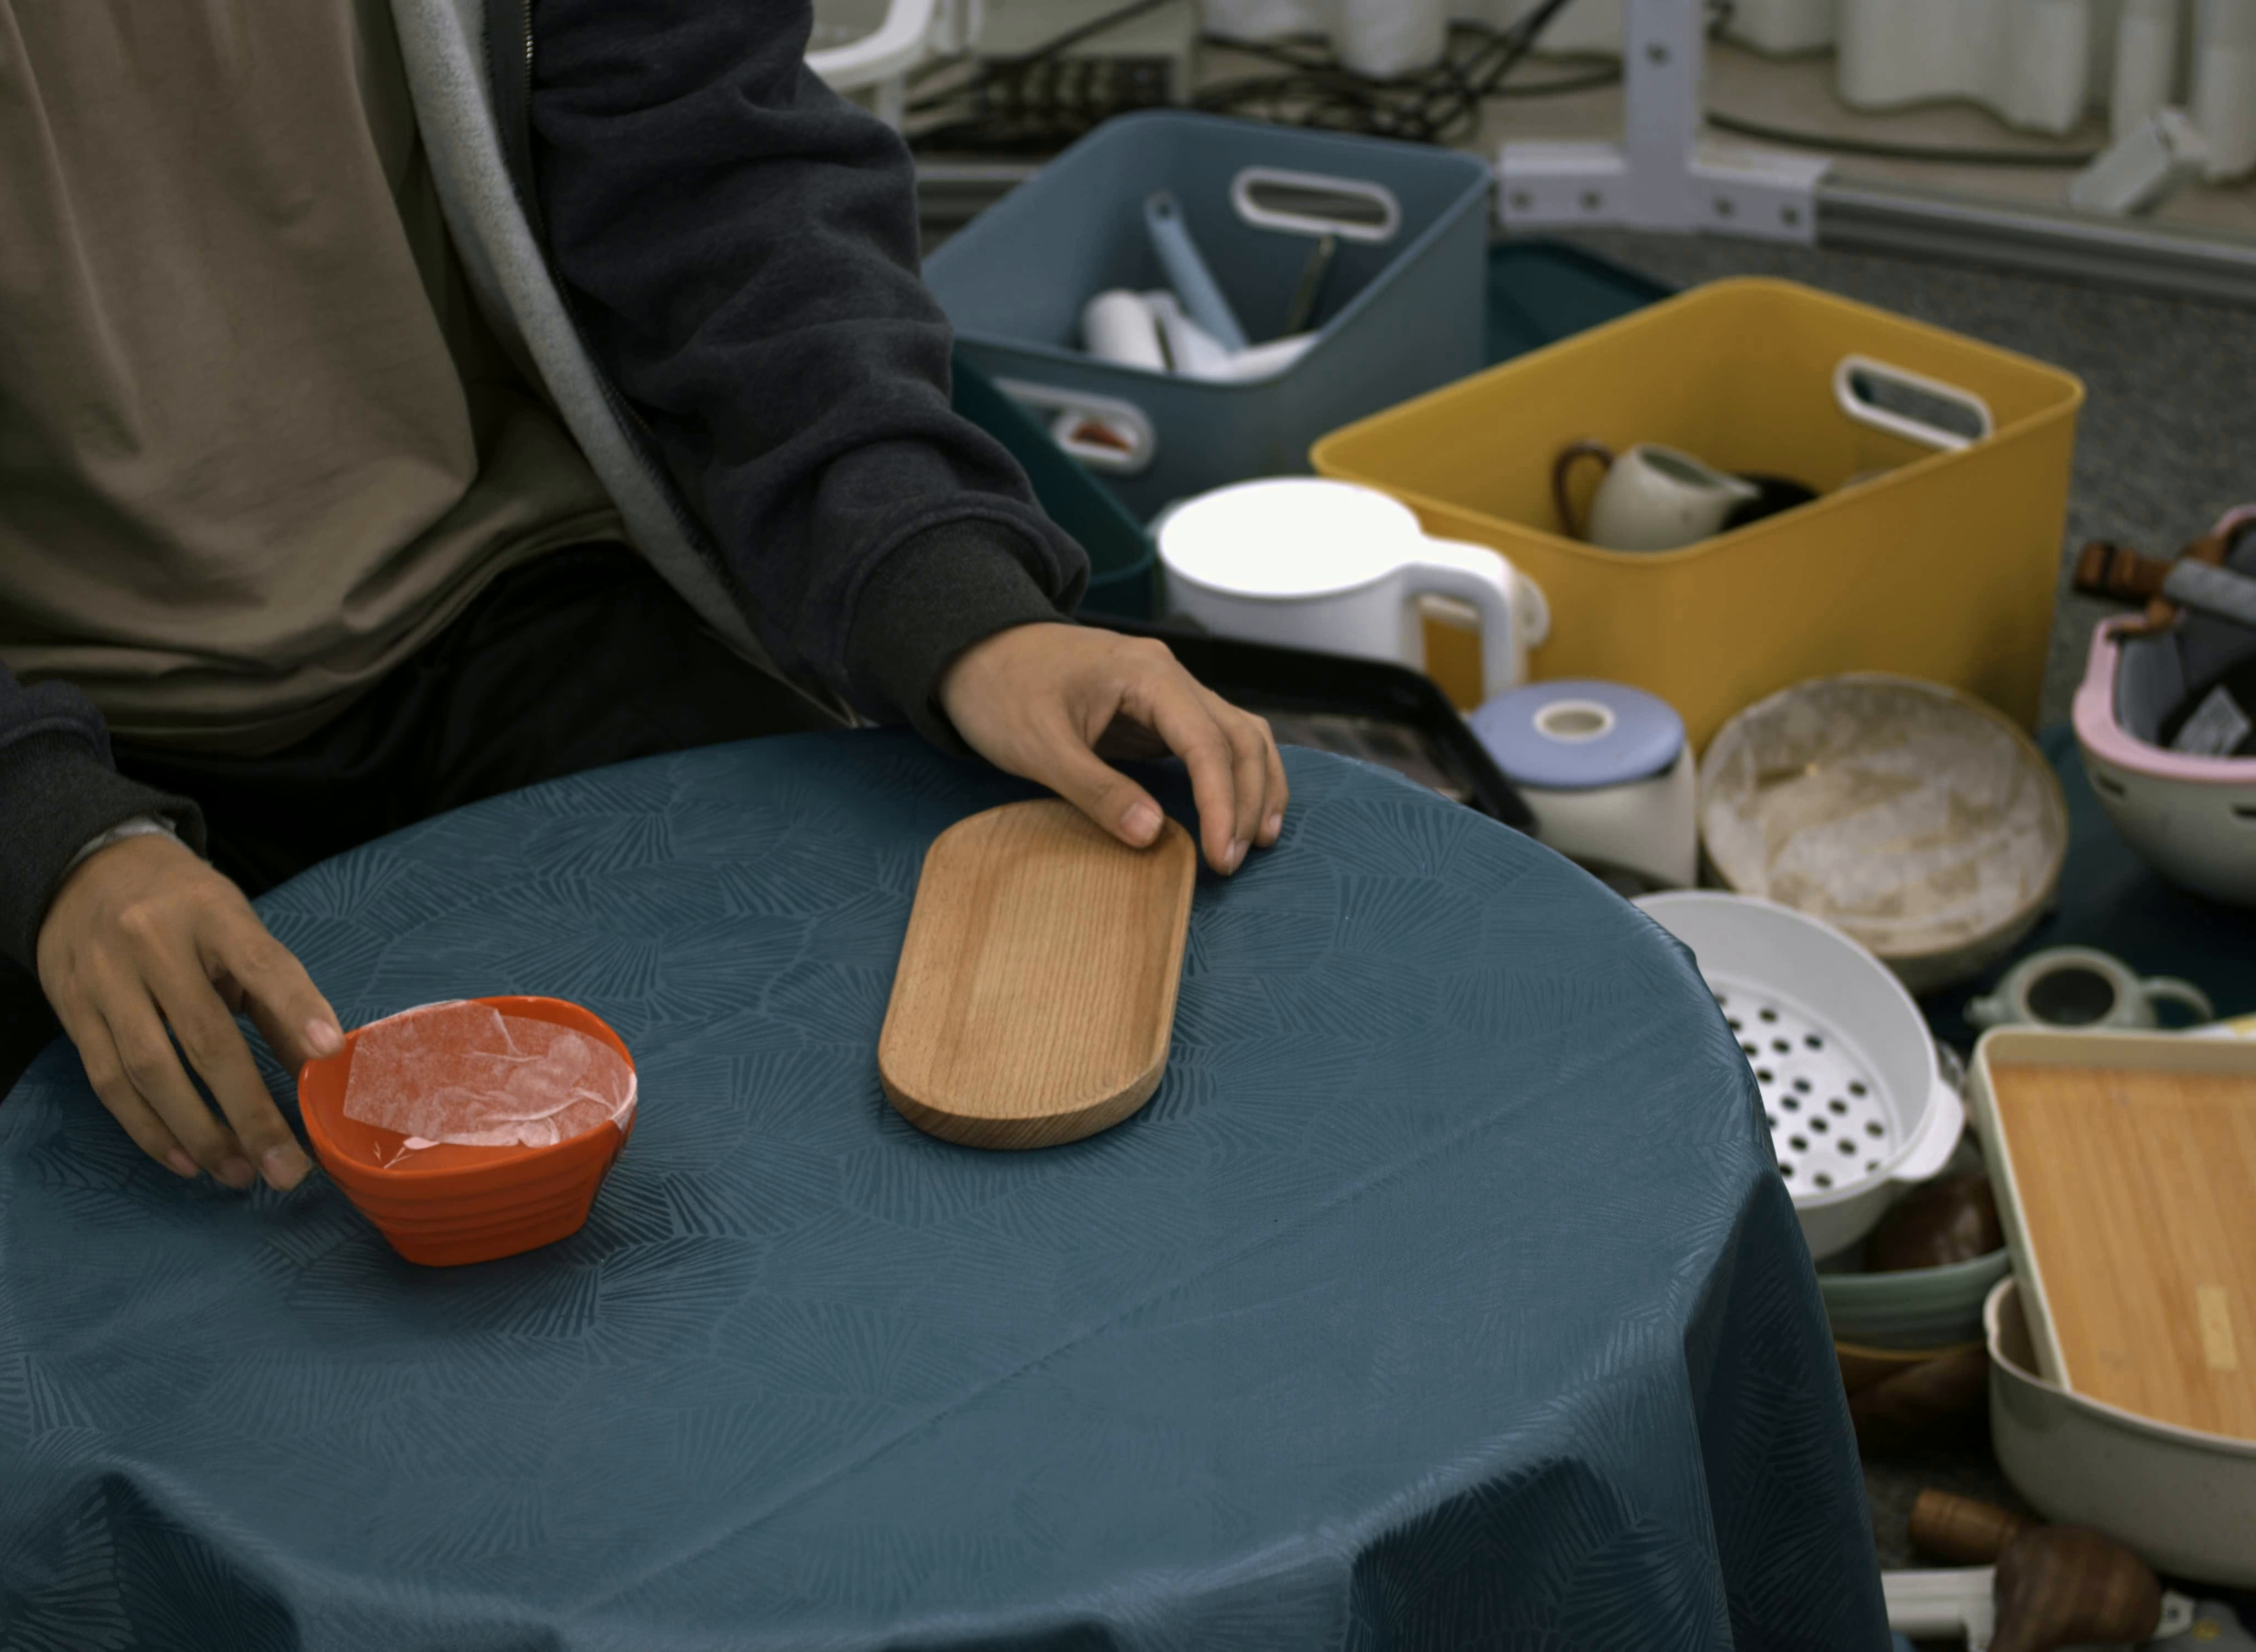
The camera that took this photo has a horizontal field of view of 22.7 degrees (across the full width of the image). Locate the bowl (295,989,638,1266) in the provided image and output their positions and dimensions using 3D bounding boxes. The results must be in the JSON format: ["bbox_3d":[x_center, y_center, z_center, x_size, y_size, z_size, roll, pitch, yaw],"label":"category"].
[{"bbox_3d":[-0.217,0.105,1.859,0.118,0.051,0.121,-3,28,2],"label":"bowl"}]

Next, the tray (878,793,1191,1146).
[{"bbox_3d":[-0.031,0.048,1.988,0.101,0.020,0.235,0,27,4],"label":"tray"}]
